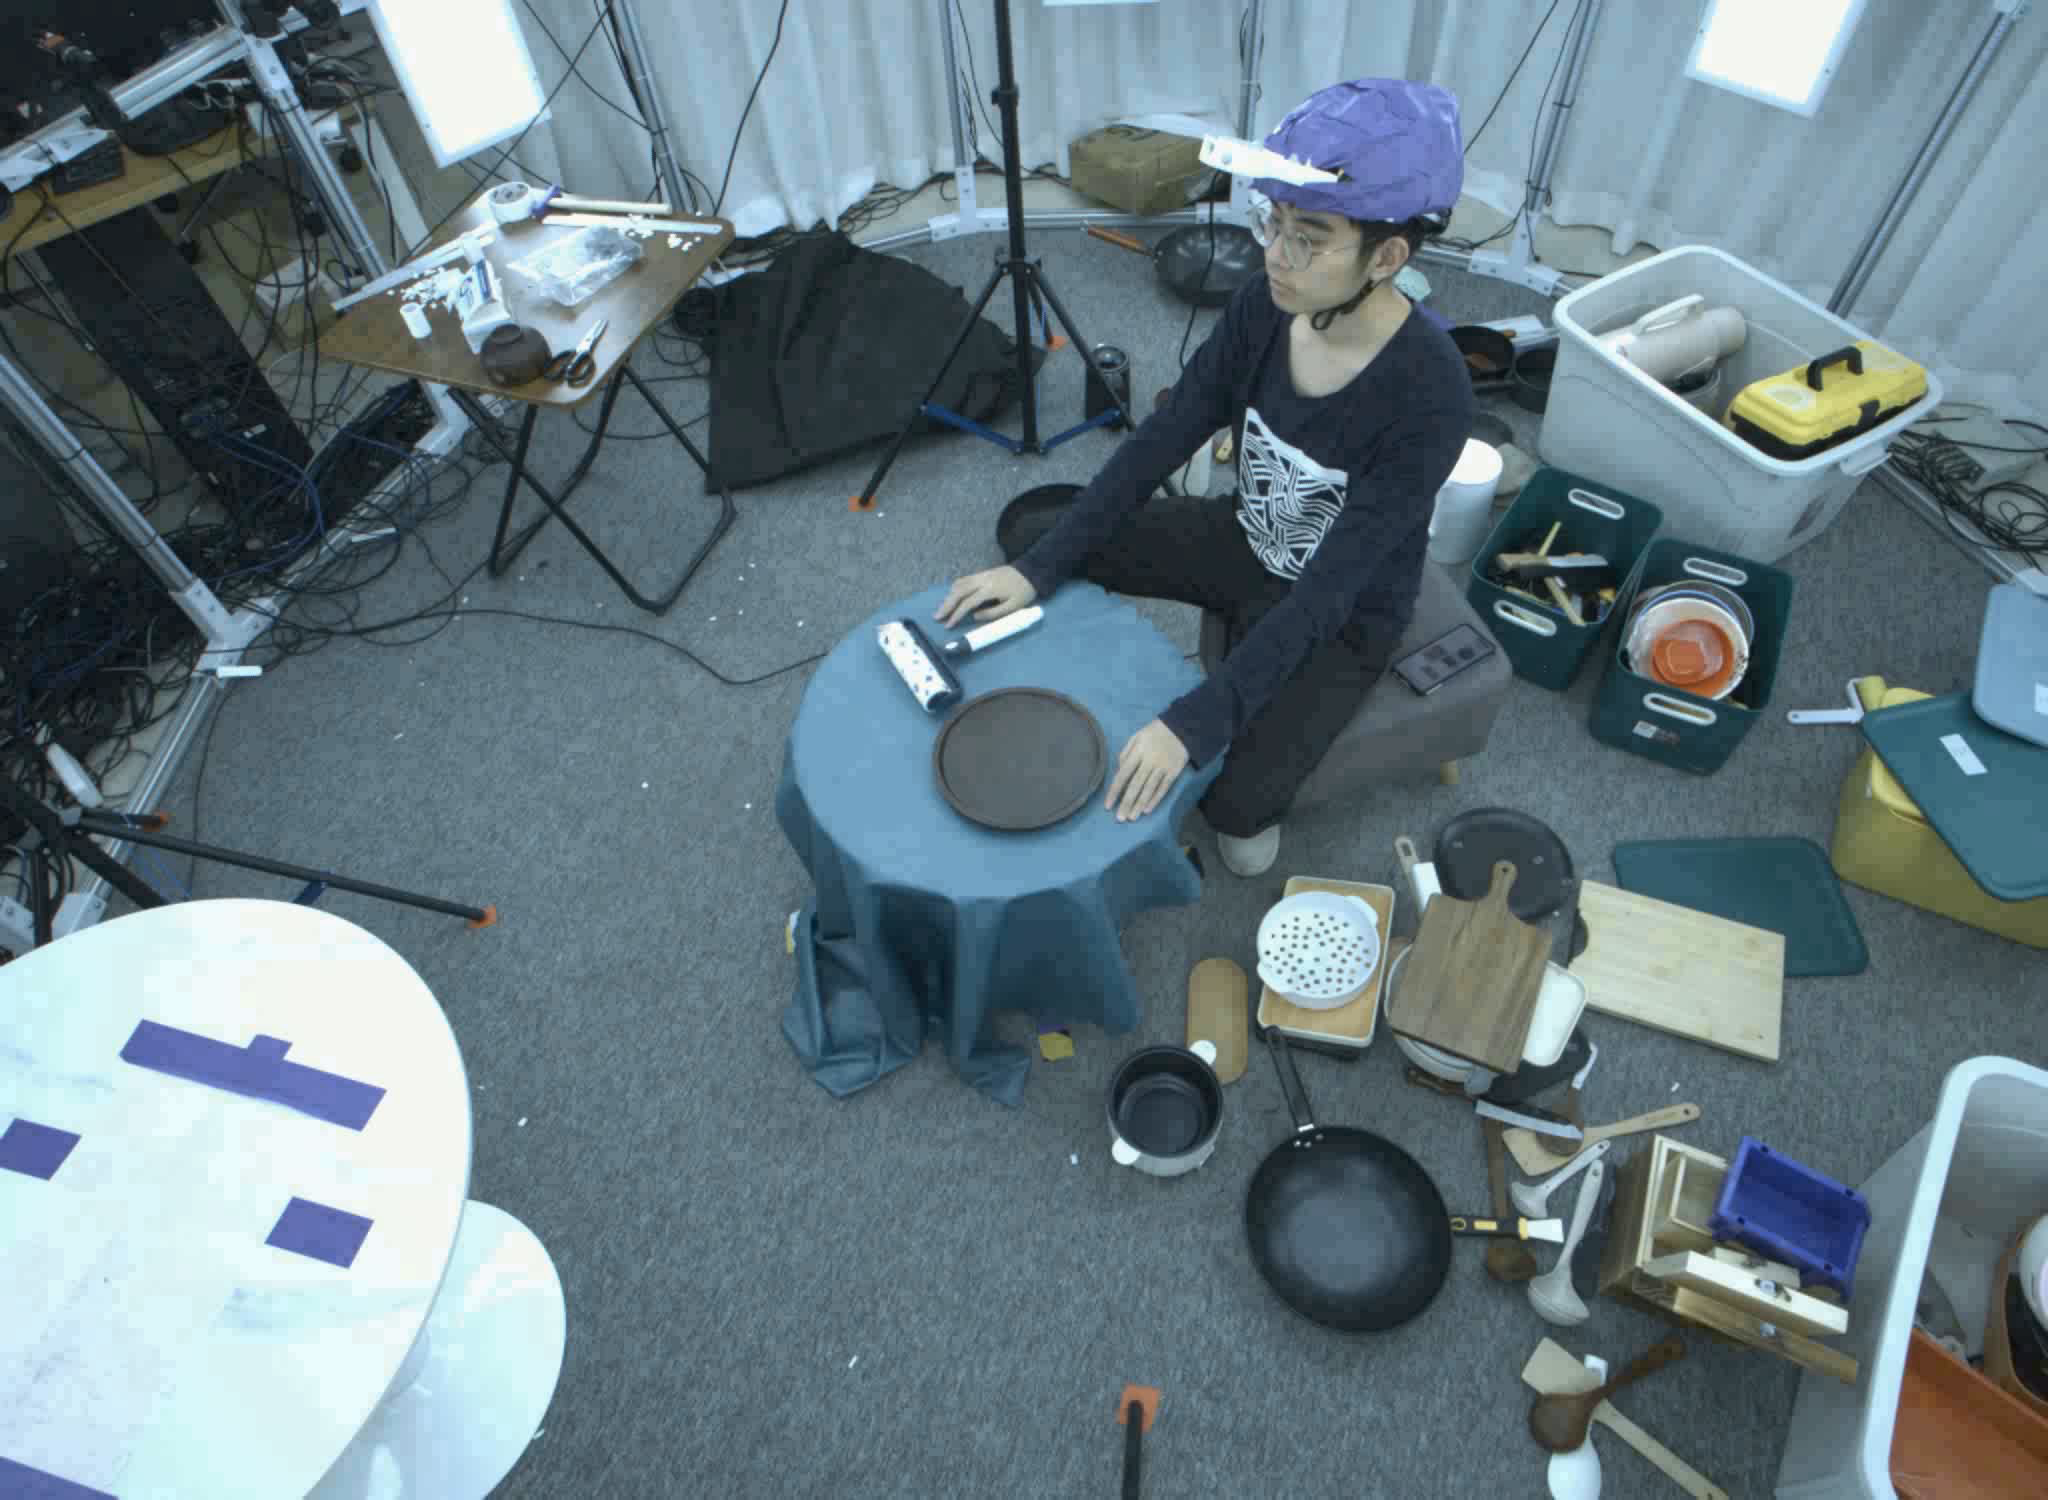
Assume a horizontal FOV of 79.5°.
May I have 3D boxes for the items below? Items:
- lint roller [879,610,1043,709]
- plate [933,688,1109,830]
[{"bbox_3d":[-0.081,-0.171,1.894,0.249,0.051,0.173,-26,57,-19],"label":"lint roller"},{"bbox_3d":[-0.004,0.011,1.774,0.255,0.029,0.252,1,53,0],"label":"plate"}]
